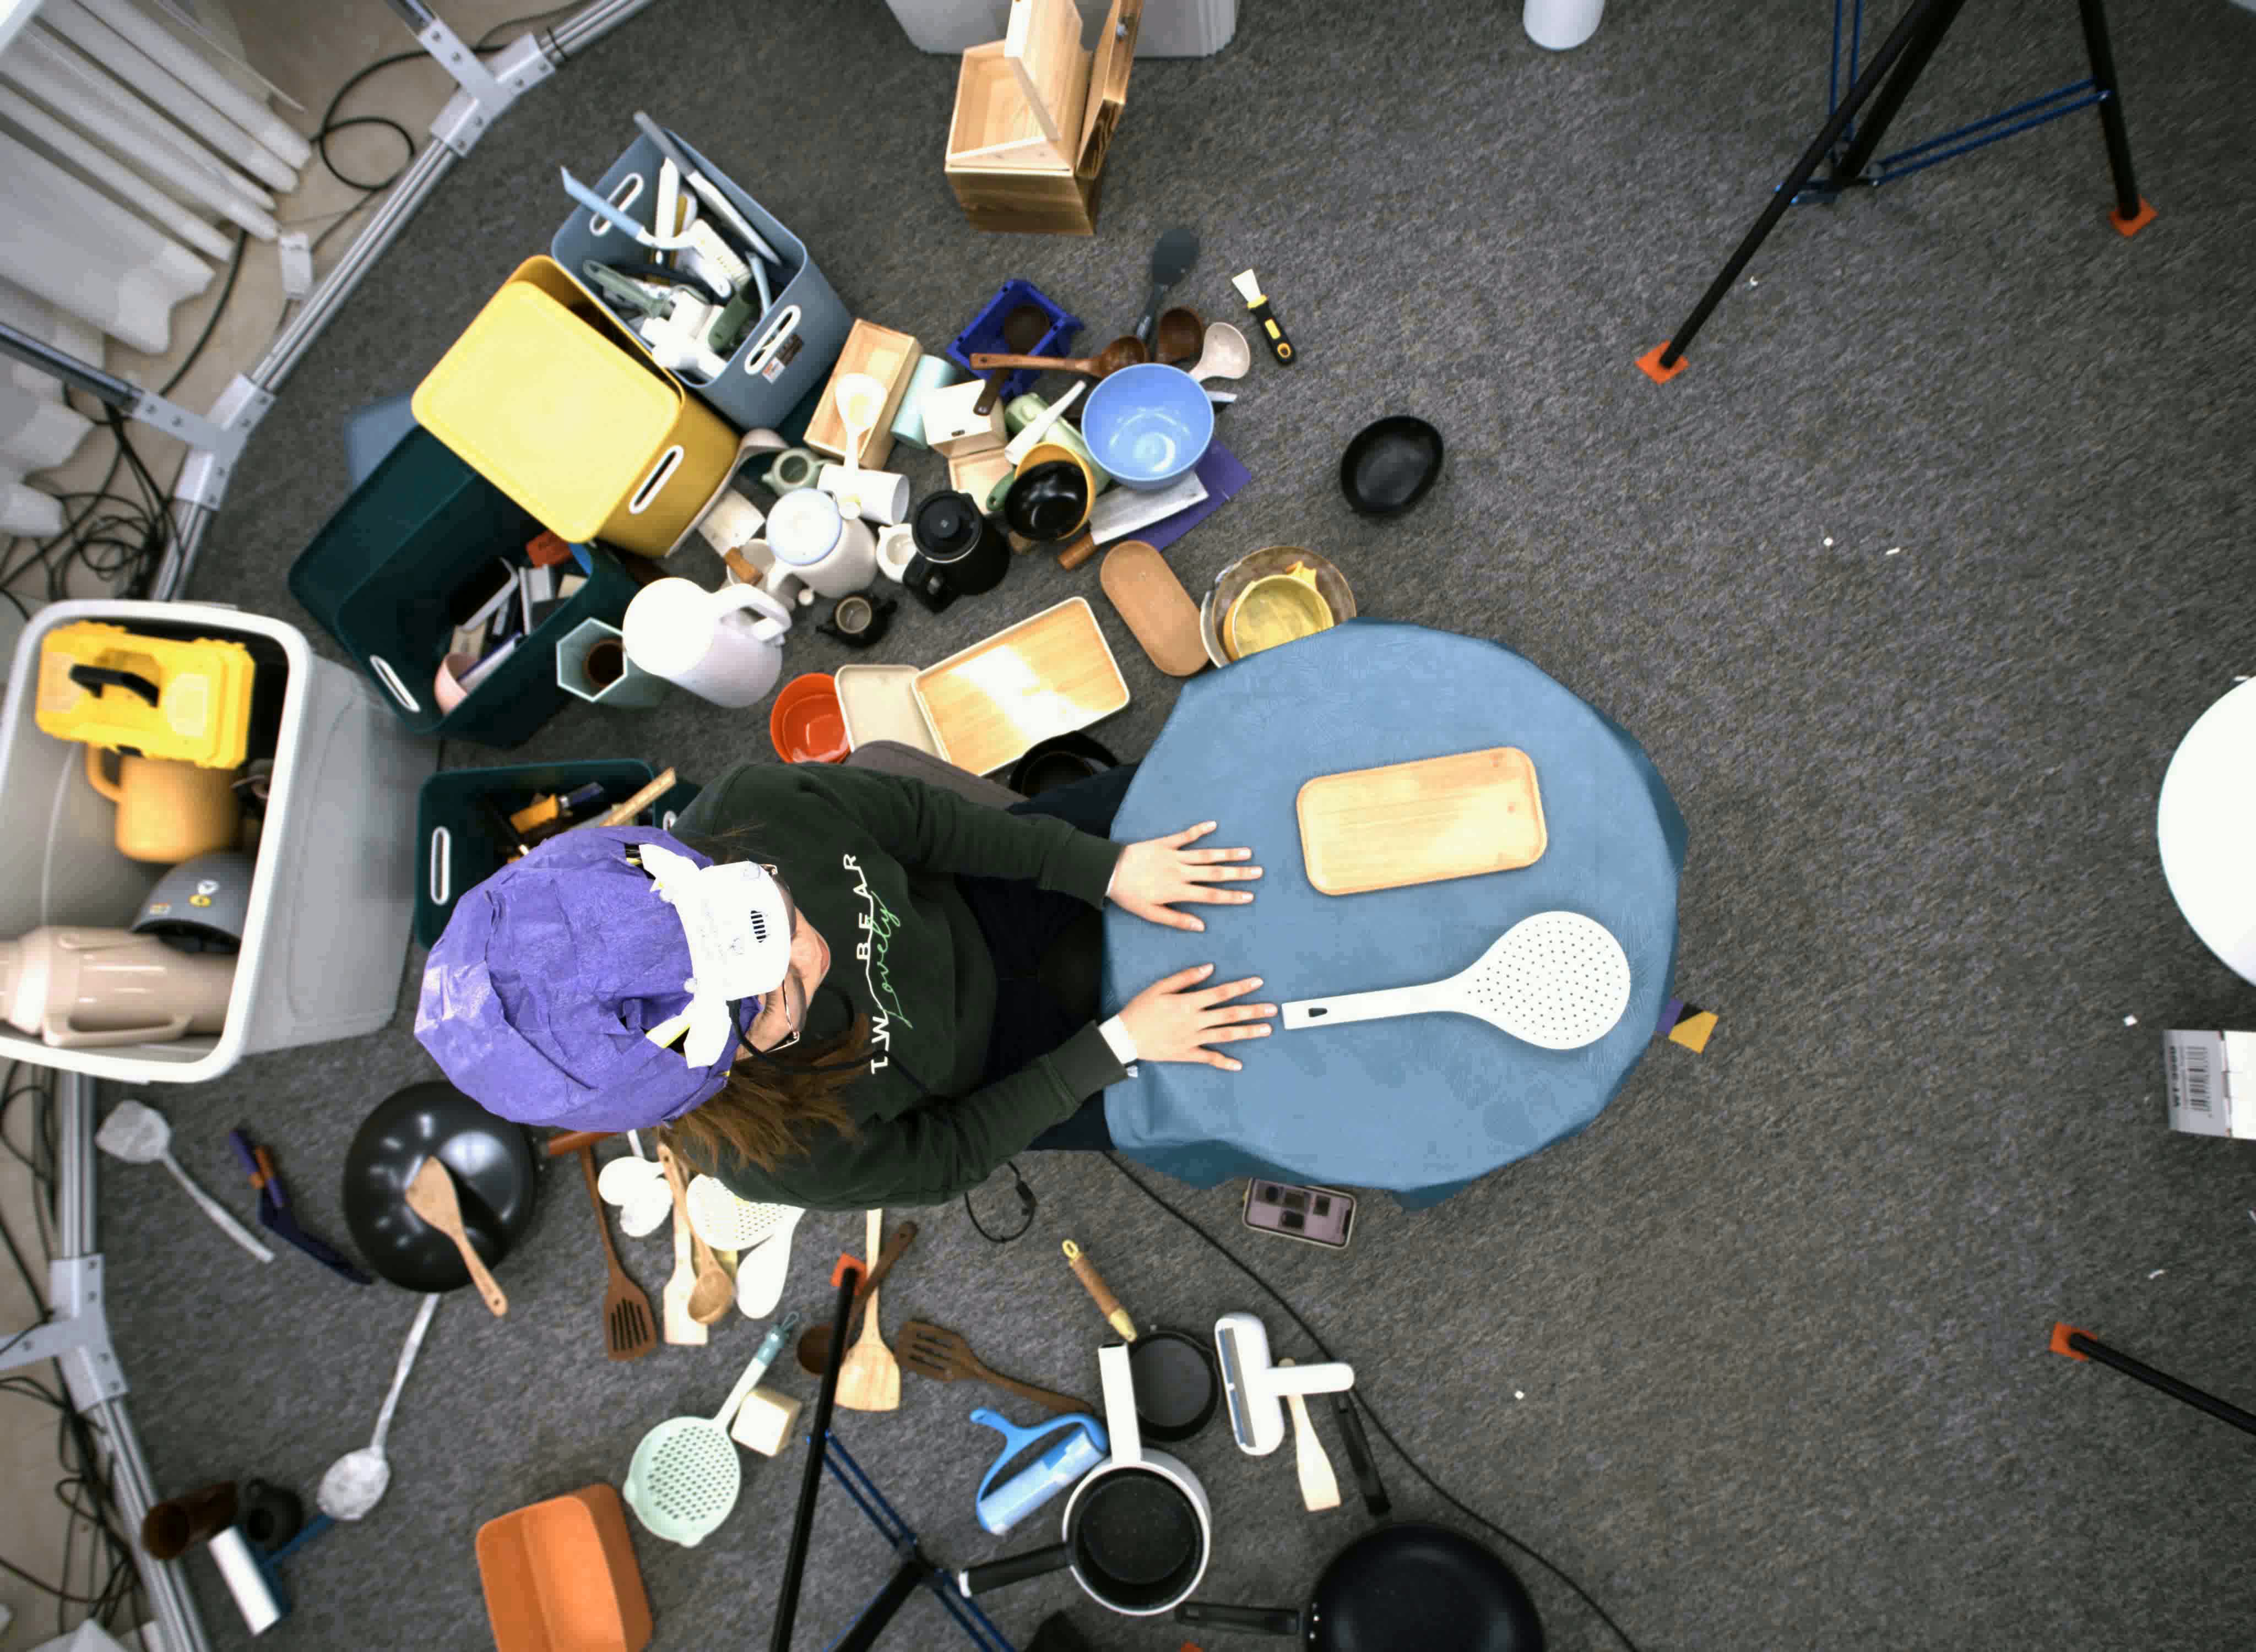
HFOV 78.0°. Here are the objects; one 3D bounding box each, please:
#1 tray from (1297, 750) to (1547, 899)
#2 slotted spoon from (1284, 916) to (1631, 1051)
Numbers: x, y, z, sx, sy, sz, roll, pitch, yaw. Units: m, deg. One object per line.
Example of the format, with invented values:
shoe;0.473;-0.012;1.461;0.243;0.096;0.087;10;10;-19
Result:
tray;0.309;-0.003;1.454;0.252;0.023;0.129;-9;83;11
slotted spoon;0.335;0.174;1.423;0.351;0.046;0.135;-9;82;10
